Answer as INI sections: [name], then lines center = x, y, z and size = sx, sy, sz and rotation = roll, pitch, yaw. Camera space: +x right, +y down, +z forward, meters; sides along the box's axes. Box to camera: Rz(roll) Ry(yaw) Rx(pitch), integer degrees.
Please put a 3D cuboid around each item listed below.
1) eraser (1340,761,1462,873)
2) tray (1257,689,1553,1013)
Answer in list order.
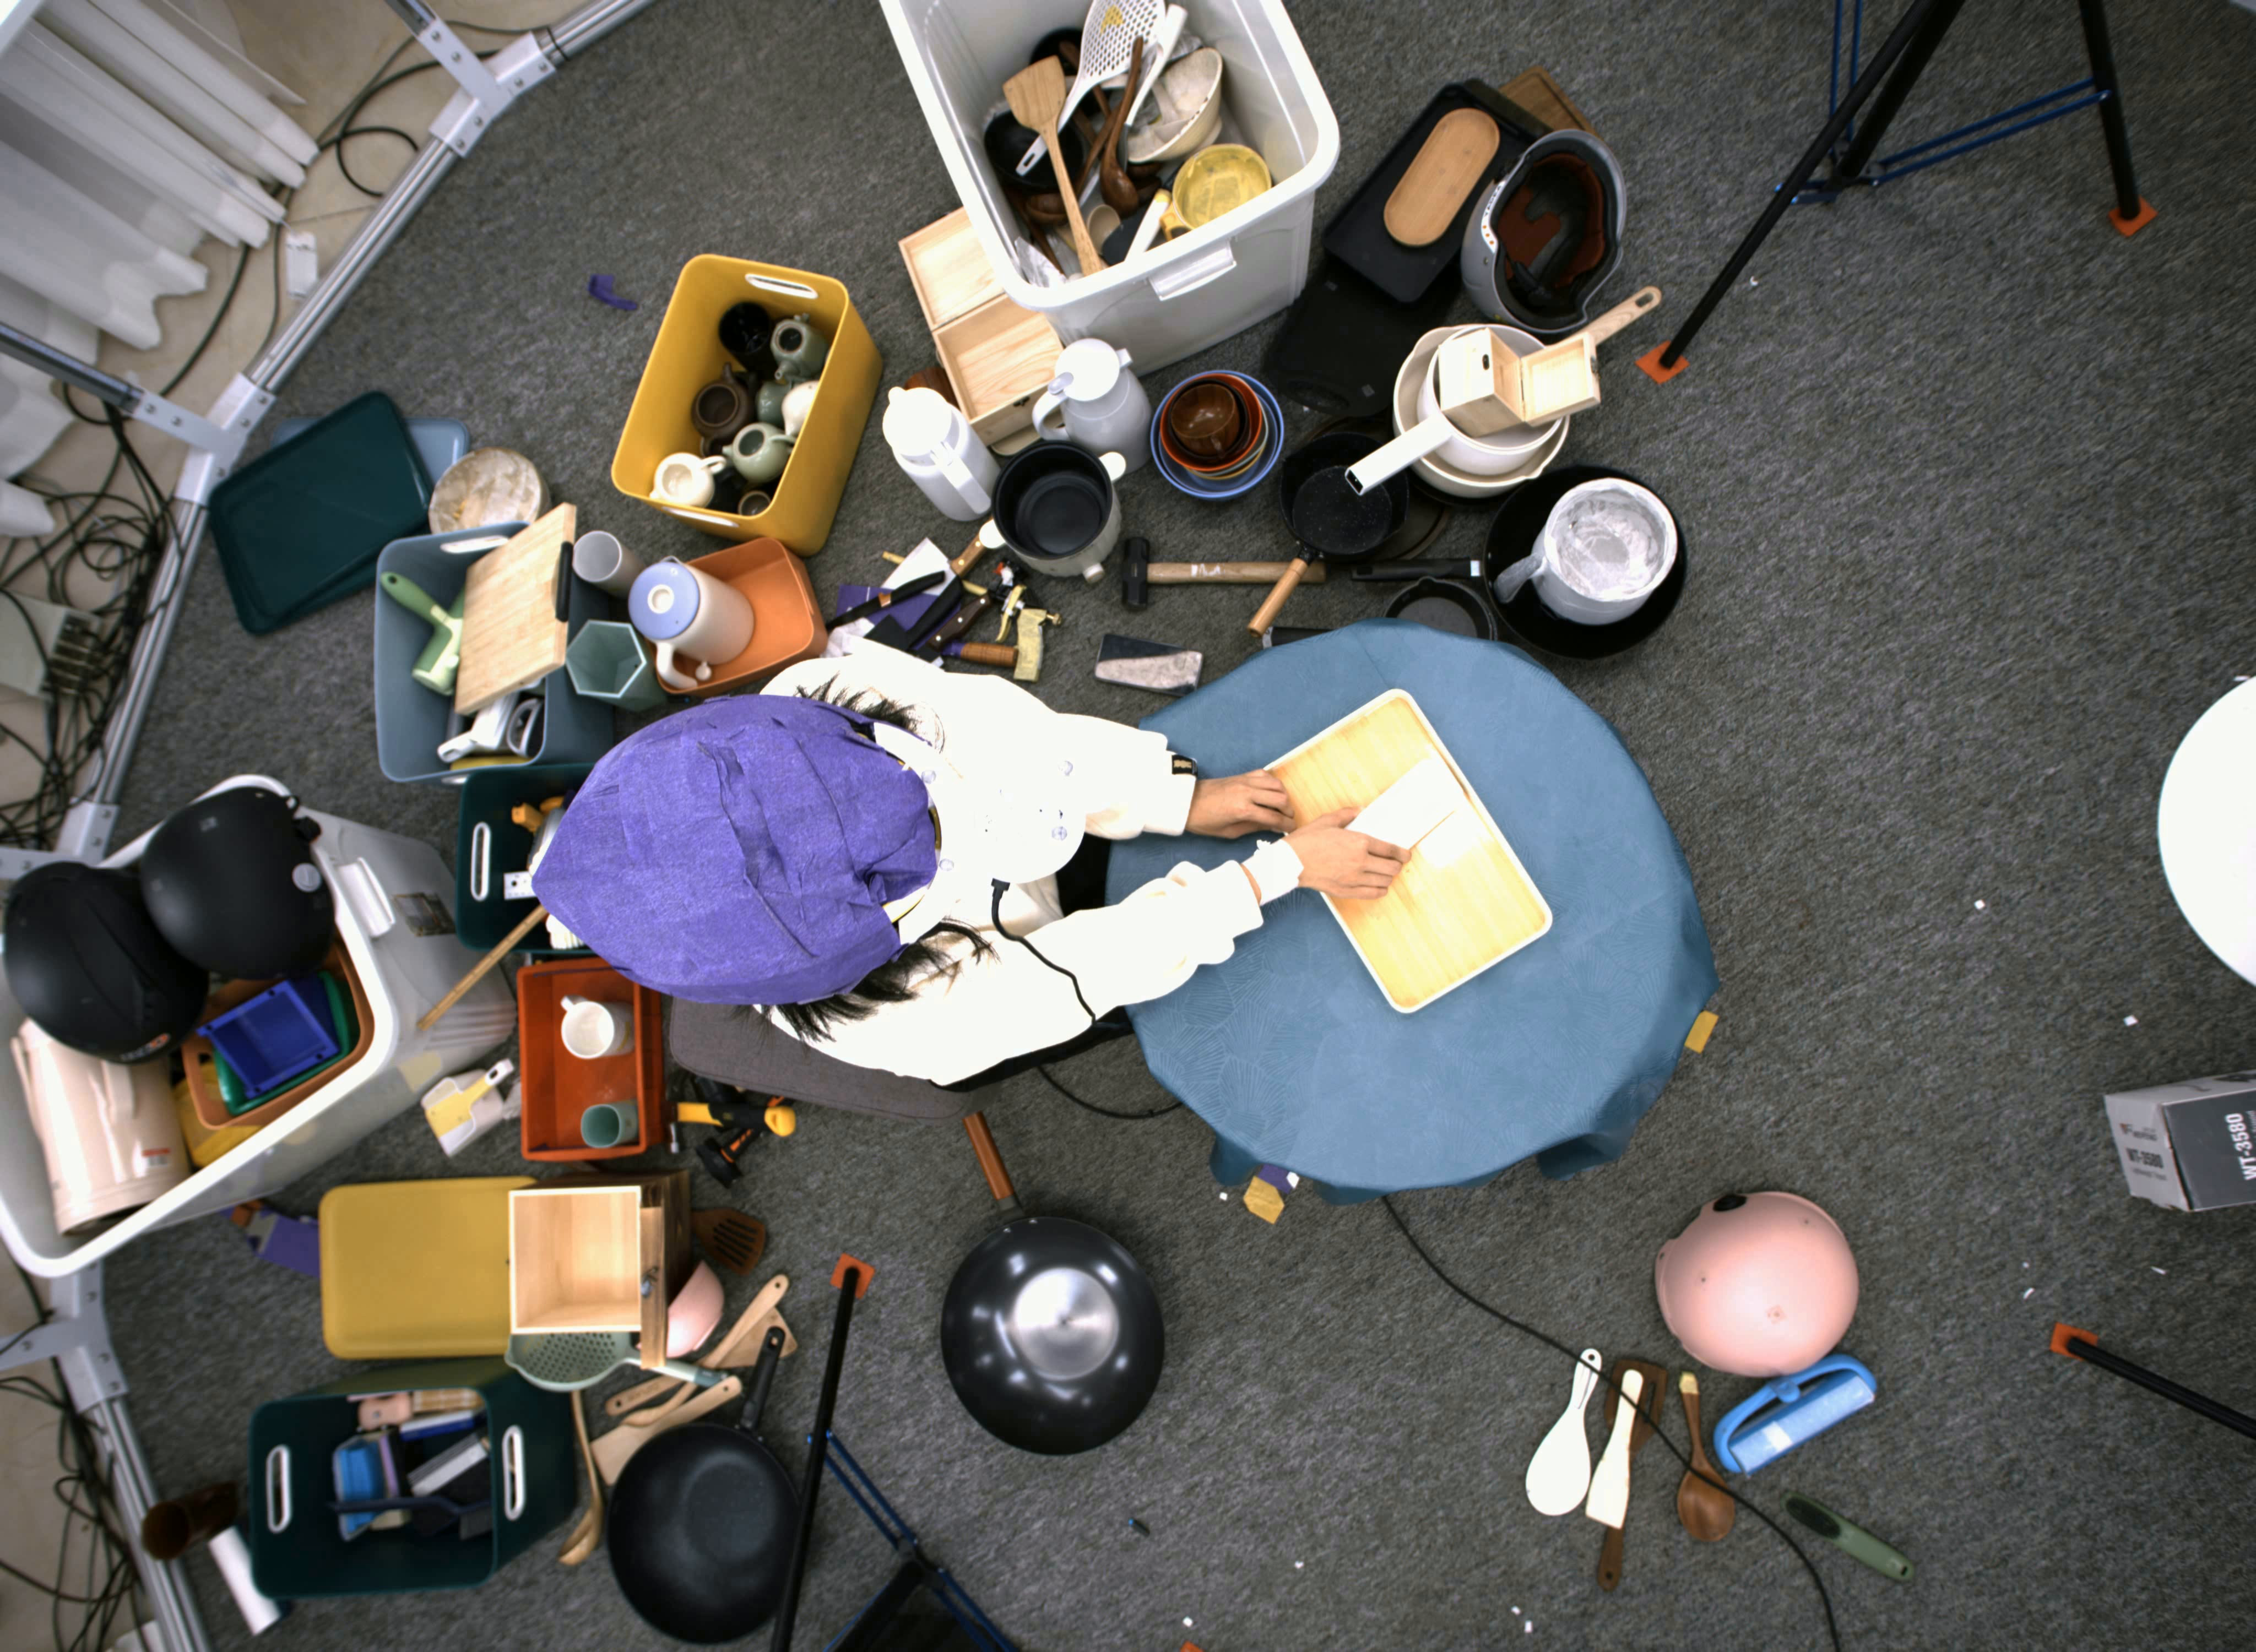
[eraser]
center = 0.284, -0.011, 1.440
size = 0.132, 0.034, 0.063
rotation = -40, 80, 6
[tray]
center = 0.288, 0.024, 1.446
size = 0.192, 0.027, 0.298
rotation = -32, 82, 7
